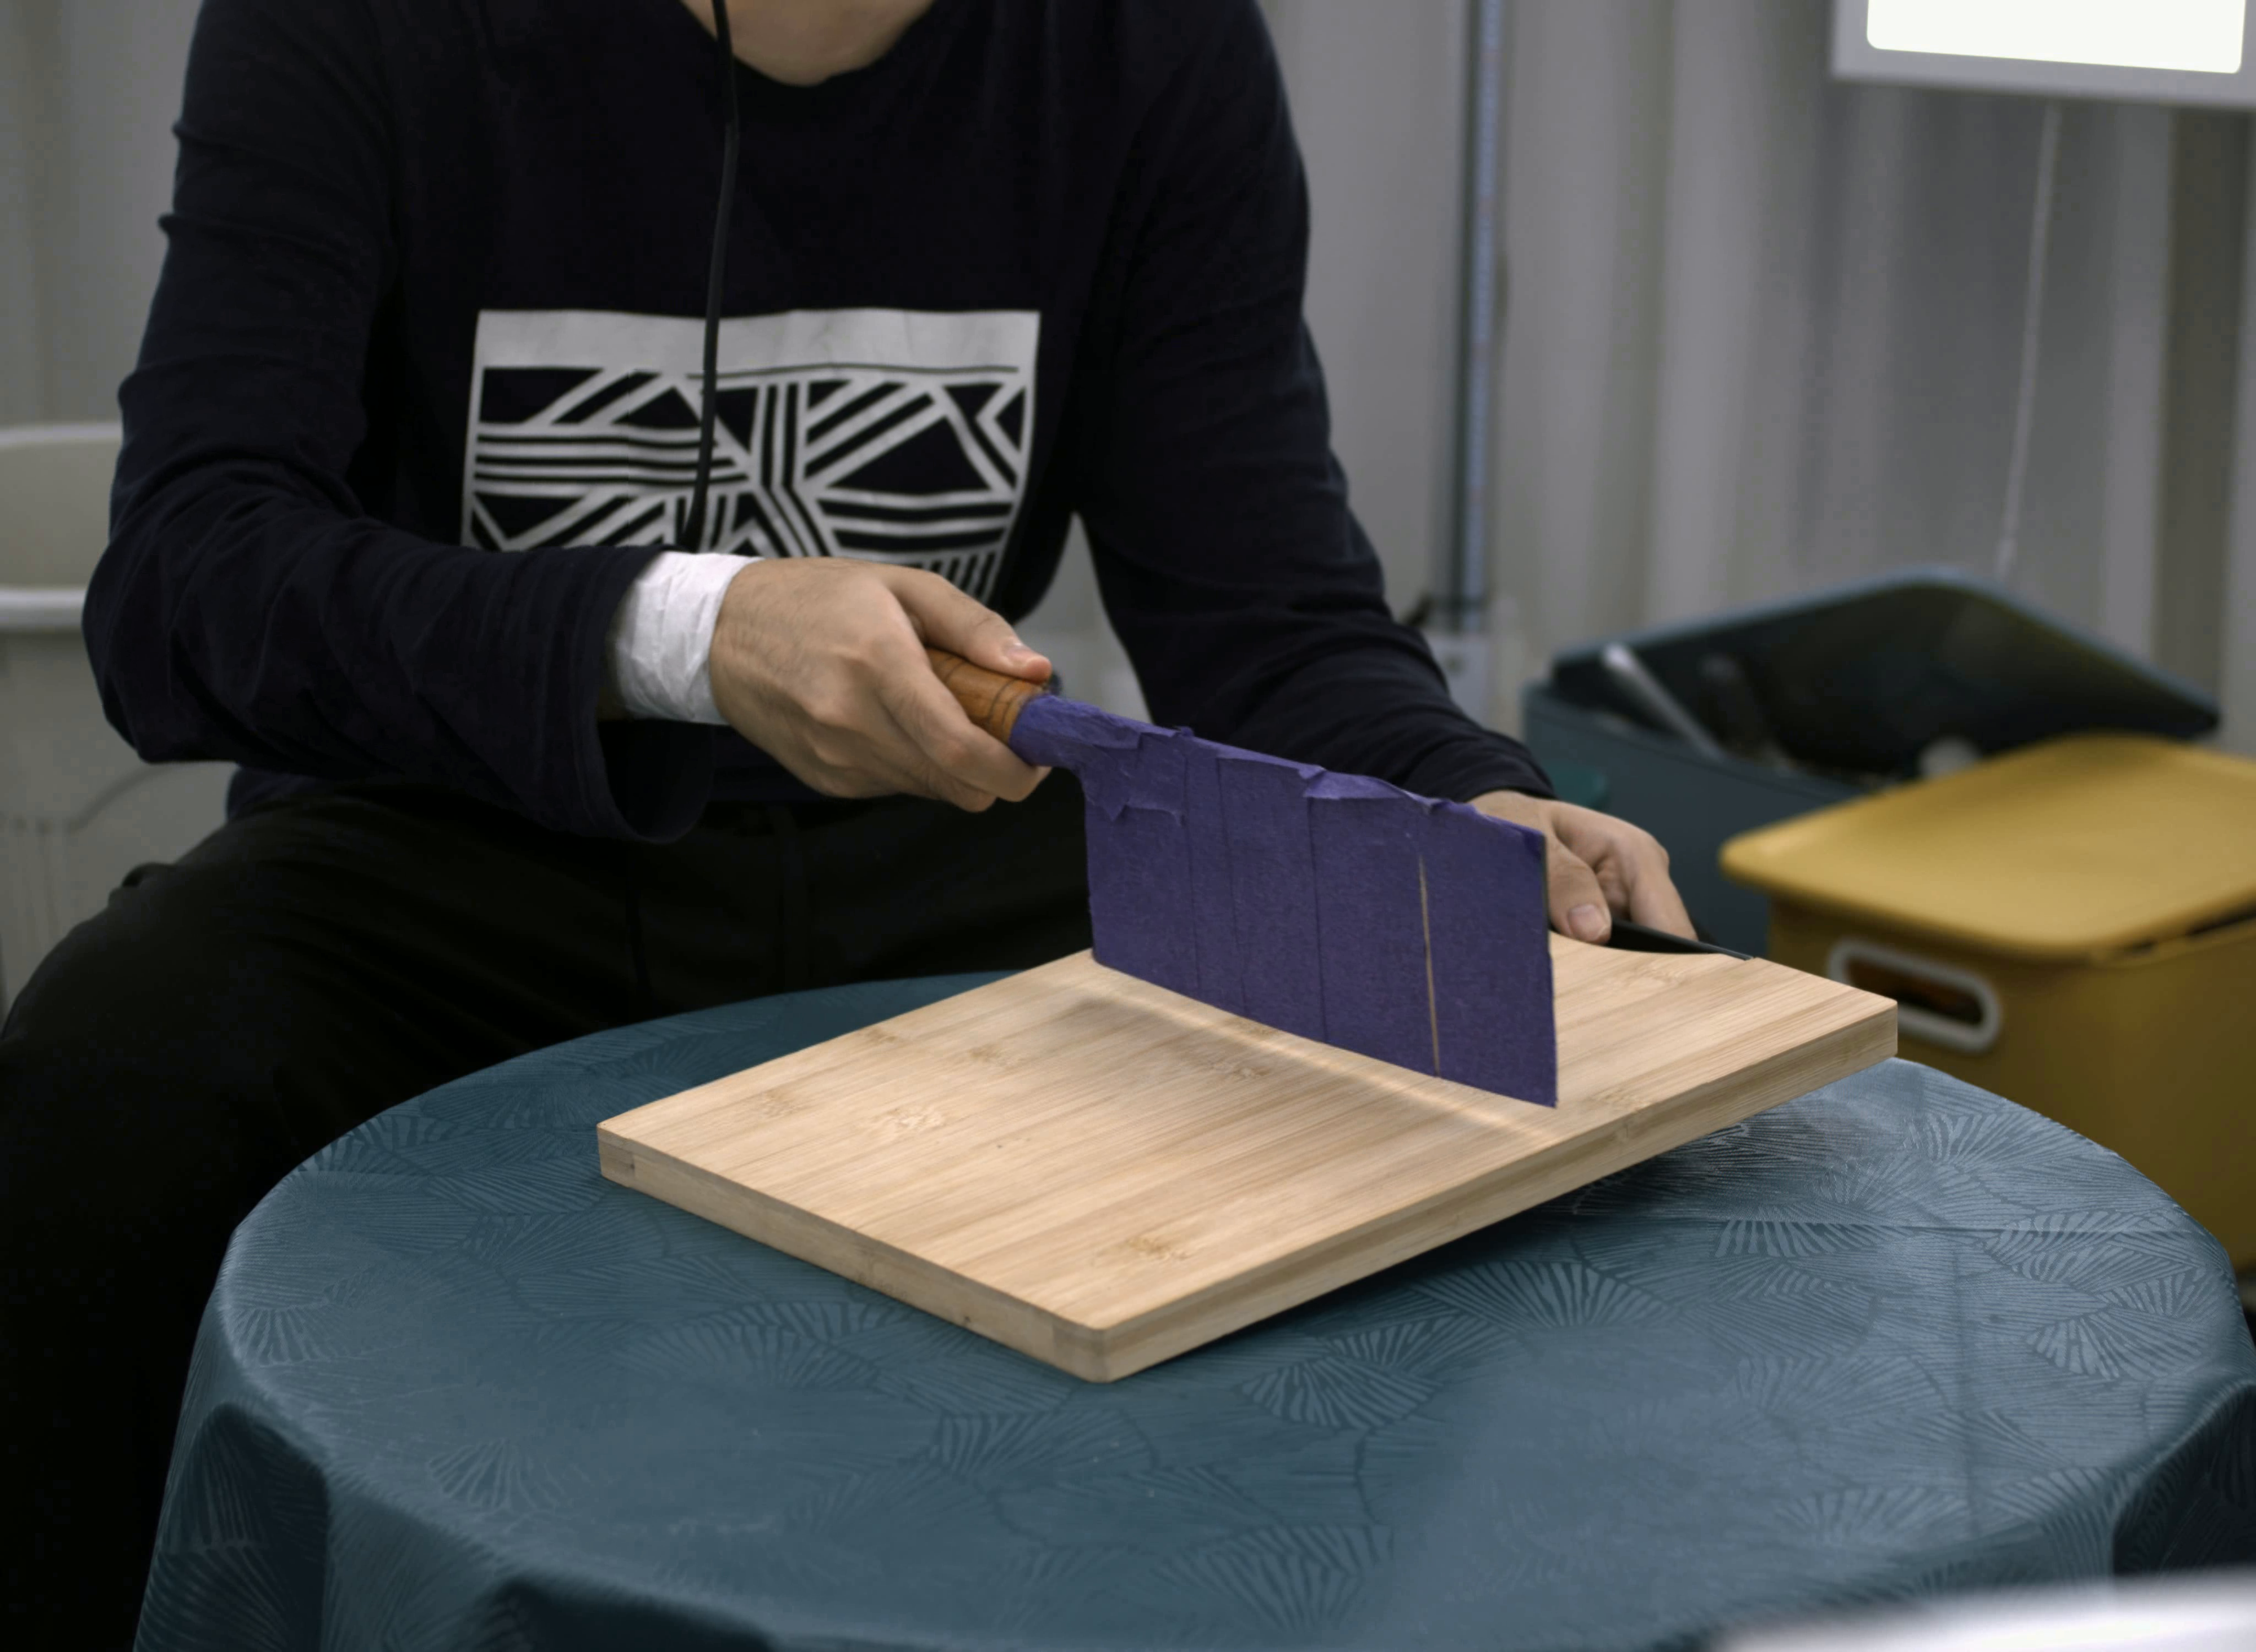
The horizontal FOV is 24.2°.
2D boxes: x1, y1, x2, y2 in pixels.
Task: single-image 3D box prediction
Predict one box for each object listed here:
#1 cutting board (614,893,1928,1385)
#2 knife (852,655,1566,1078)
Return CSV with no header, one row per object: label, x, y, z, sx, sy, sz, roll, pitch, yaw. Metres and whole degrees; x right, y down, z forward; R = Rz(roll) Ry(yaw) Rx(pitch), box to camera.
cutting board,0.045,0.082,1.654,0.350,0.024,0.247,-19,24,-39
knife,0.020,0.013,1.662,0.032,0.105,0.311,-17,22,-38
